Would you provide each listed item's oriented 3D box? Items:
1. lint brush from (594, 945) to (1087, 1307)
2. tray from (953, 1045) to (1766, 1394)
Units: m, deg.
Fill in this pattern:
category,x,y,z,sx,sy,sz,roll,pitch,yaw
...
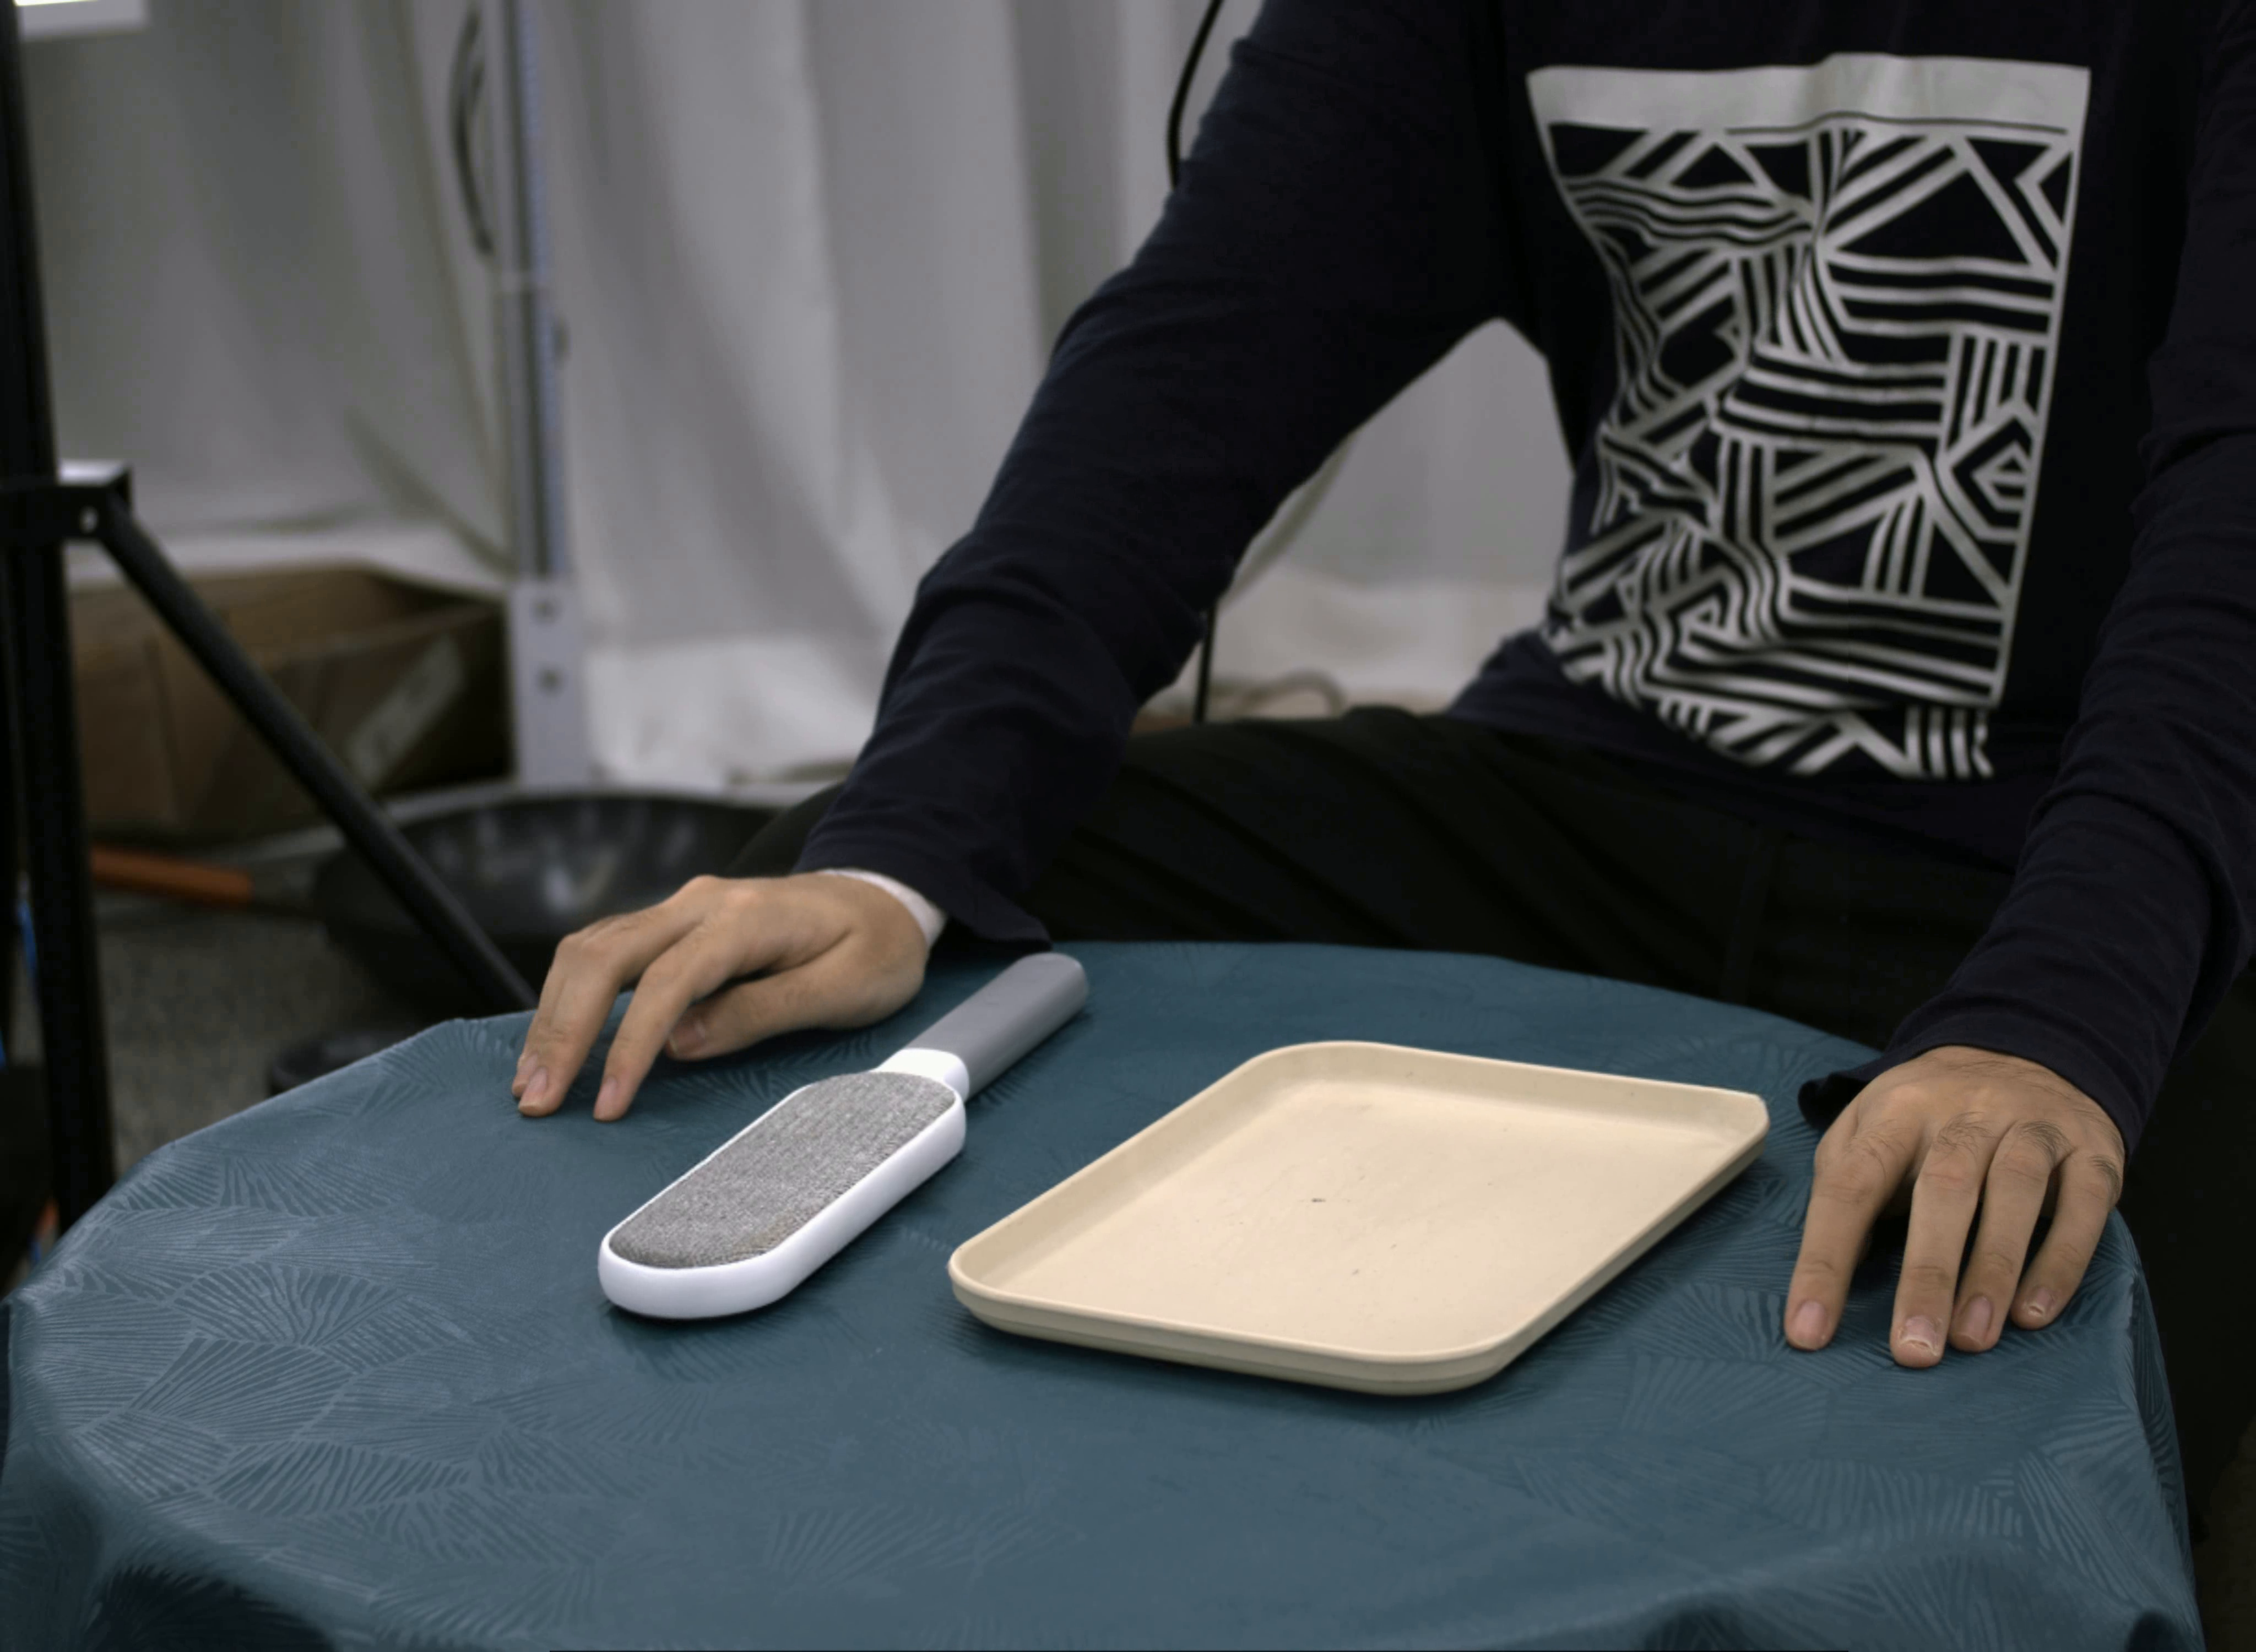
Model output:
category,x,y,z,sx,sy,sz,roll,pitch,yaw
lint brush,-0.075,0.087,1.601,0.061,0.021,0.305,-2,15,22
tray,0.070,0.110,1.511,0.174,0.017,0.235,5,17,28
